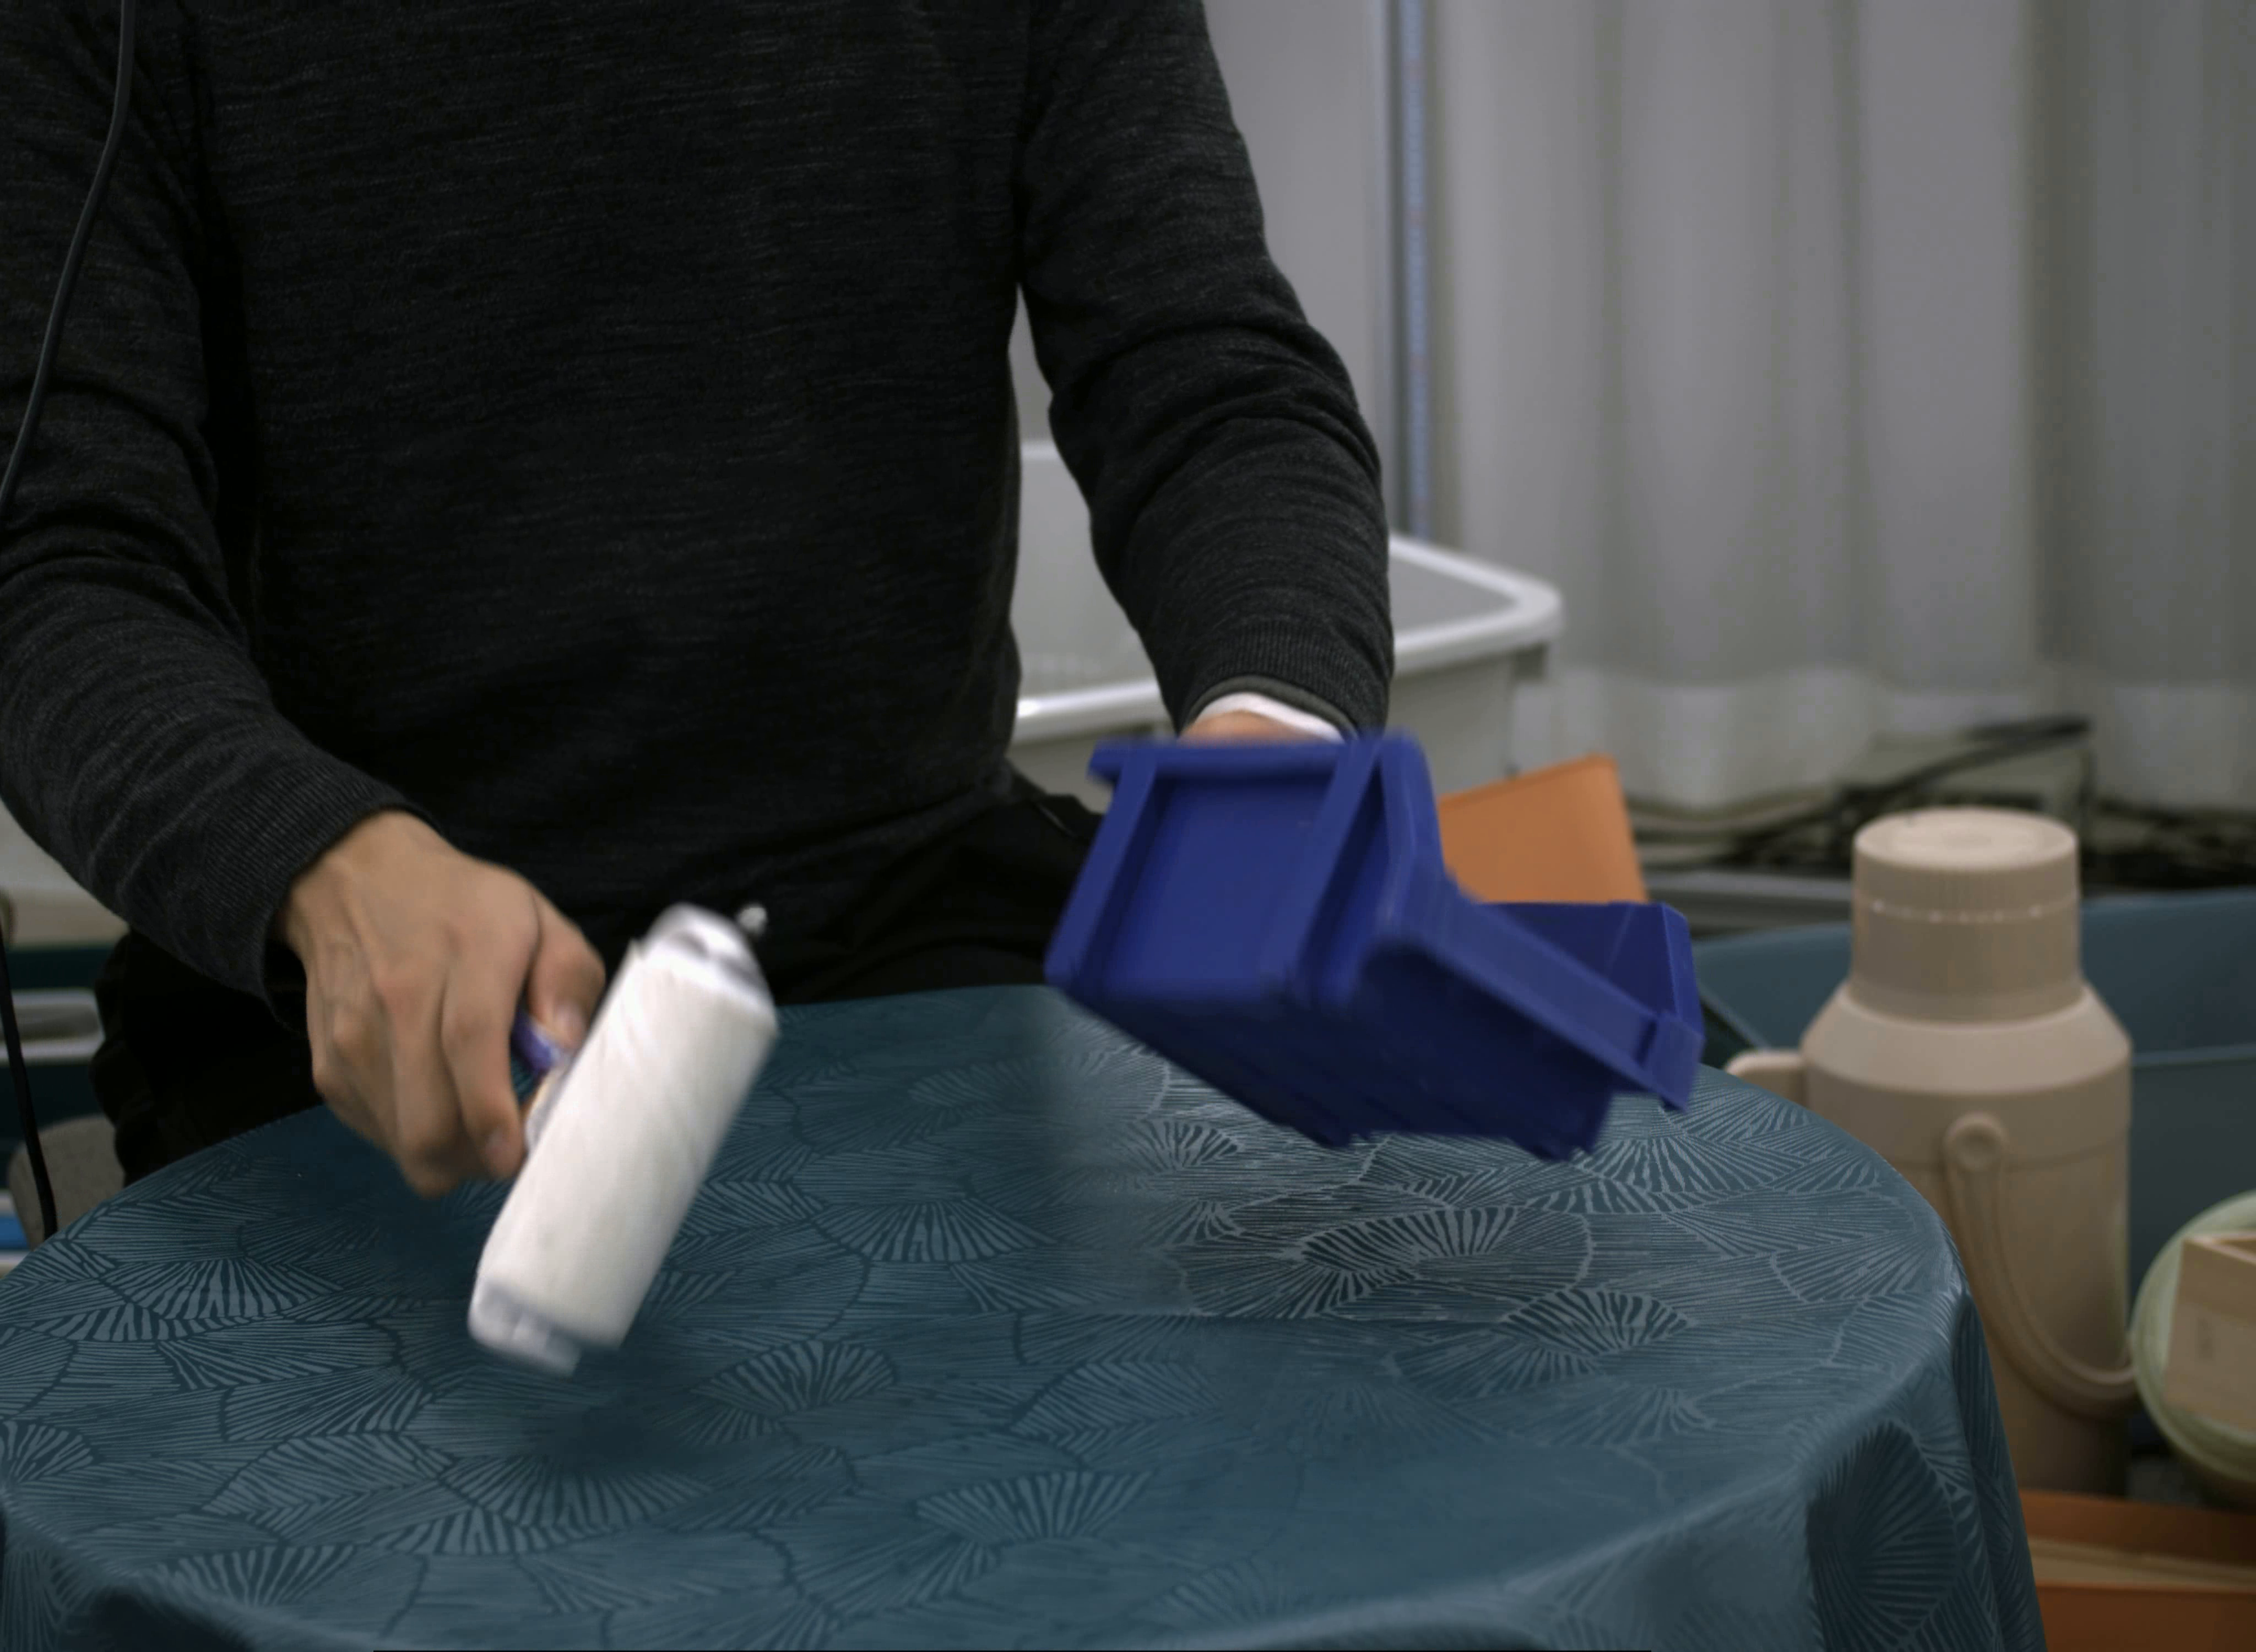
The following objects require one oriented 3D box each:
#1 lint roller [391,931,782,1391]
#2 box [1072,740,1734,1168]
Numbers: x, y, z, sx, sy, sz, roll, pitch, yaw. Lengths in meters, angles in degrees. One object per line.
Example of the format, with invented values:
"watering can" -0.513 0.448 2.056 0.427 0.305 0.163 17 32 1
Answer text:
"lint roller" -0.175 0.075 1.561 0.049 0.133 0.182 31 -4 -39
"box" 0.080 0.040 1.596 0.123 0.082 0.179 30 -21 -30
